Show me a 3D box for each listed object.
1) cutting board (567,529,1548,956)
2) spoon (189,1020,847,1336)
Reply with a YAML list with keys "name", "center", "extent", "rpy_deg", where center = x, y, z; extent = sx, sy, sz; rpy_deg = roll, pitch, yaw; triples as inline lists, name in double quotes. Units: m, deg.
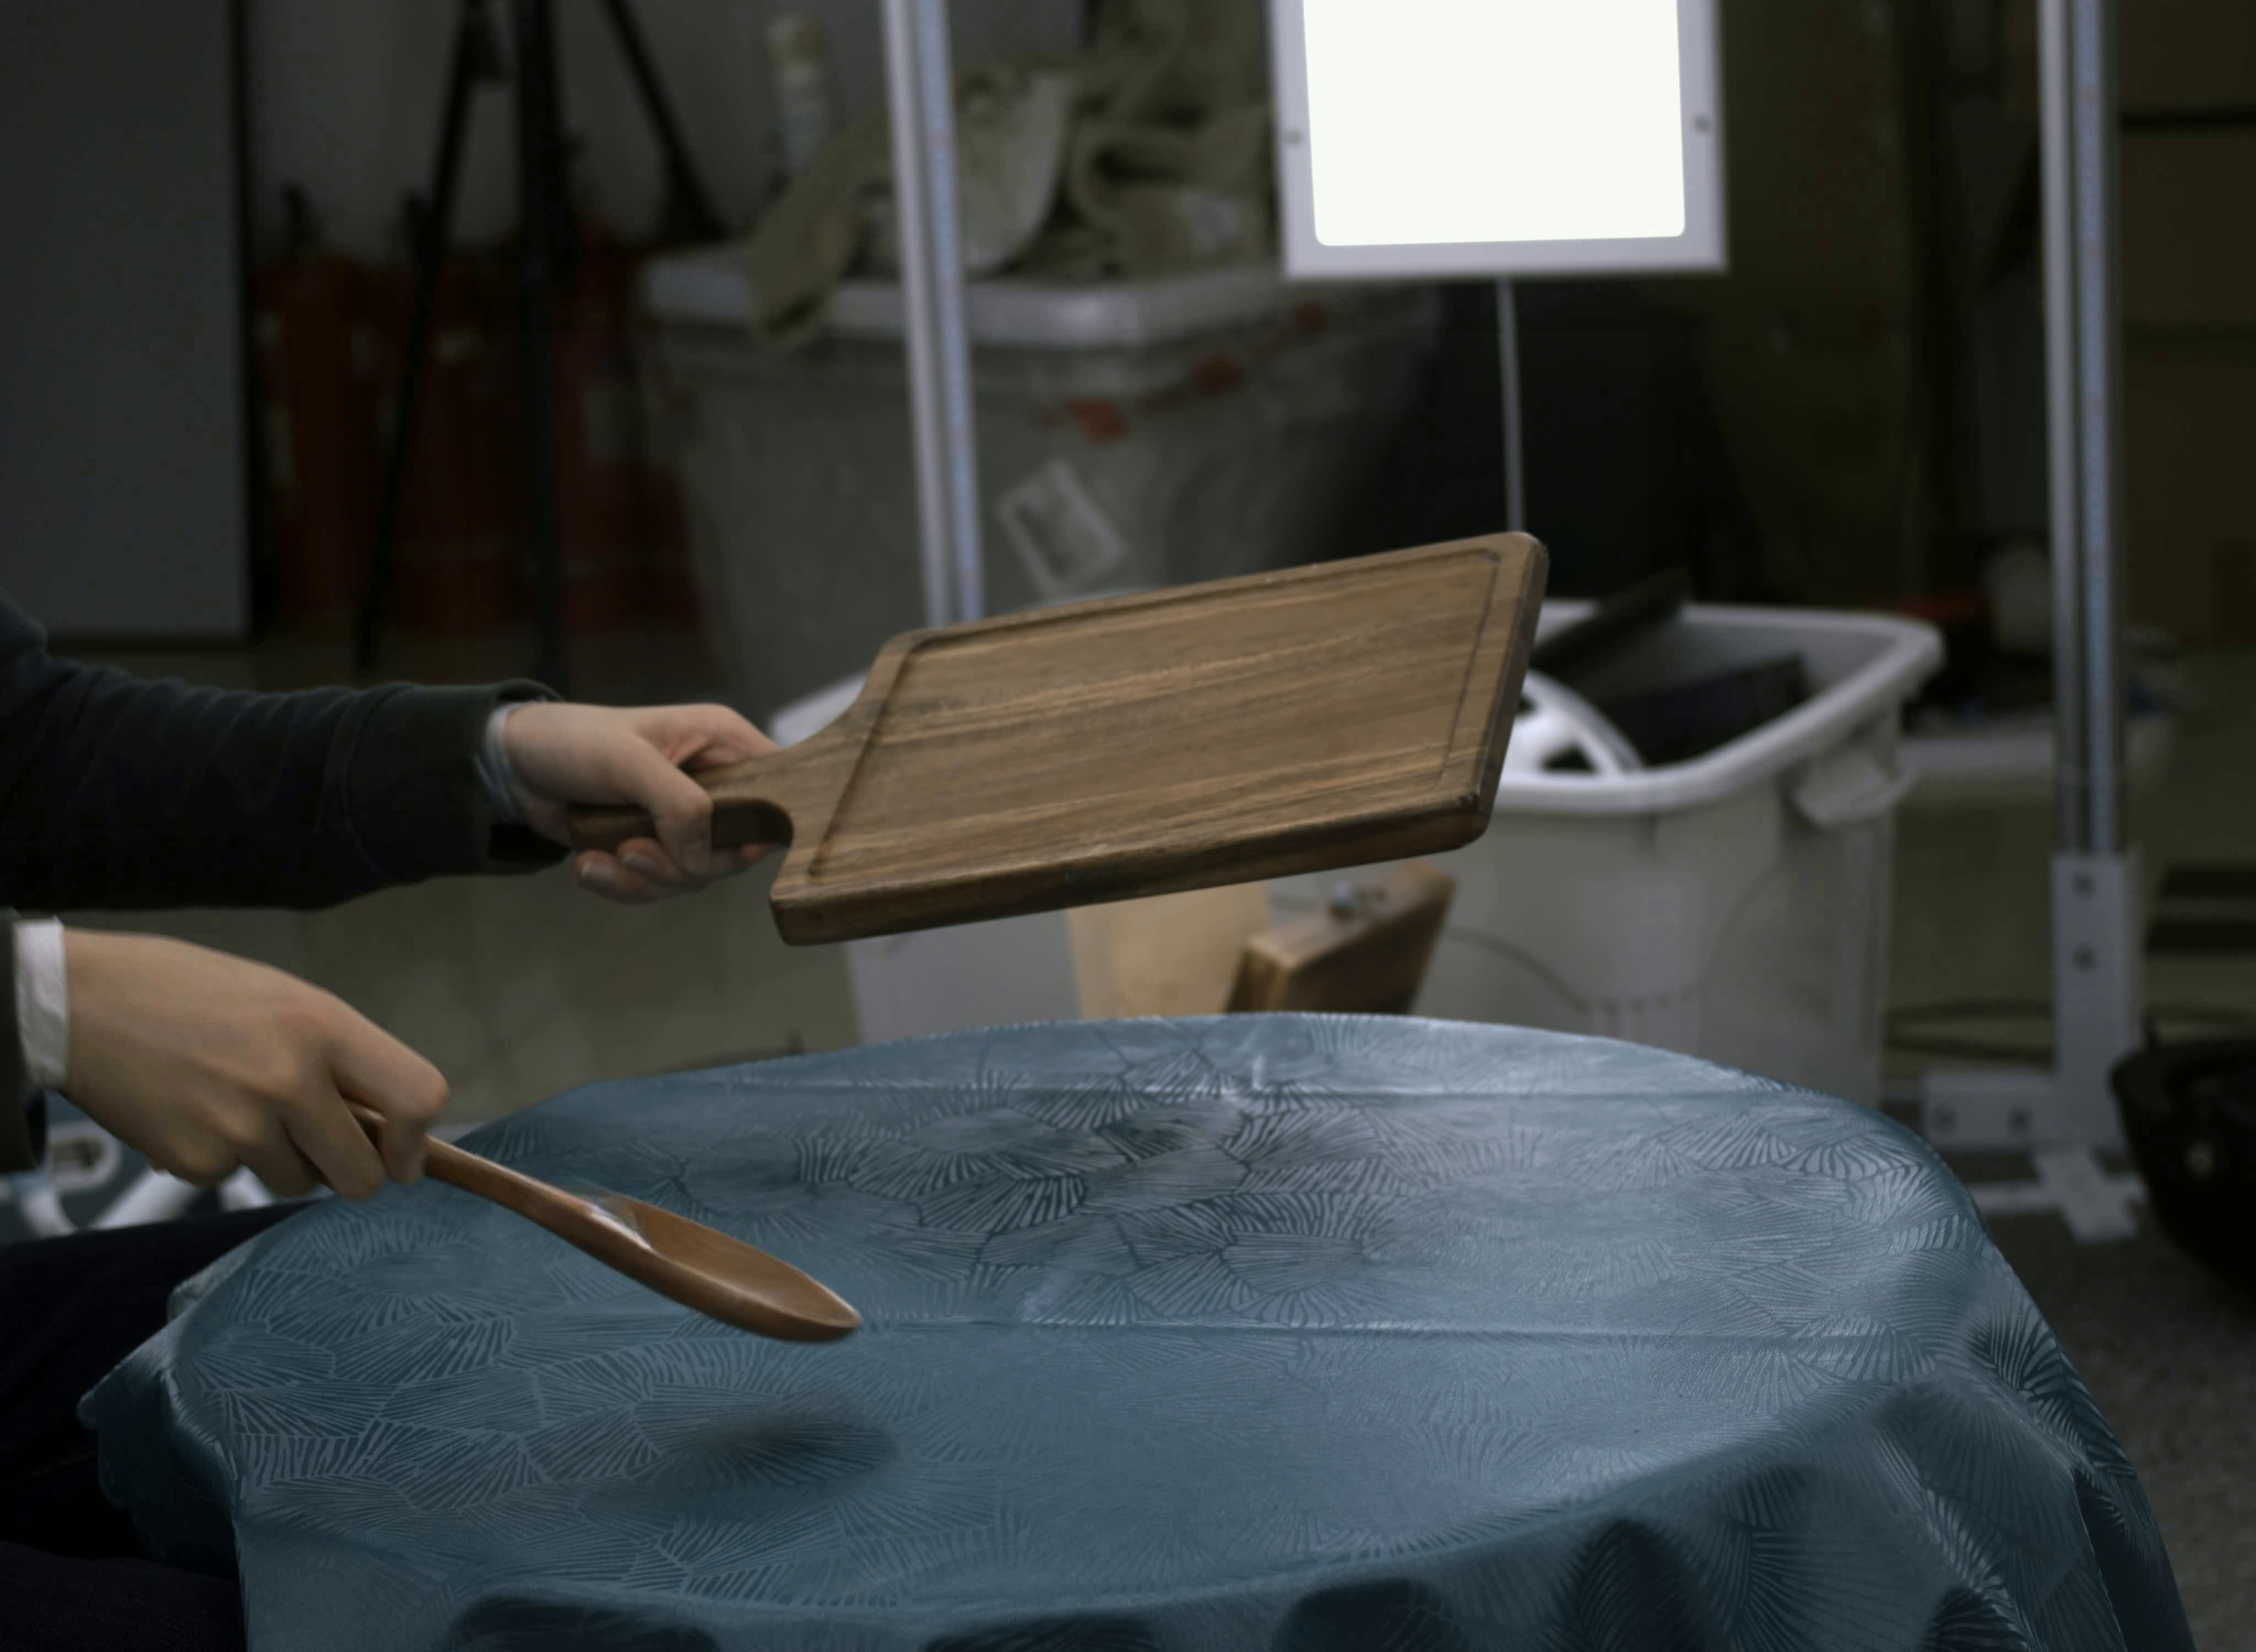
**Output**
- name: "cutting board"
  center: [-0.032, -0.024, 1.922]
  extent: [0.356, 0.023, 0.199]
  rpy_deg: [-9, 29, 19]
- name: "spoon"
  center: [-0.183, 0.108, 1.664]
  extent: [0.214, 0.017, 0.076]
  rpy_deg: [26, 6, -11]
